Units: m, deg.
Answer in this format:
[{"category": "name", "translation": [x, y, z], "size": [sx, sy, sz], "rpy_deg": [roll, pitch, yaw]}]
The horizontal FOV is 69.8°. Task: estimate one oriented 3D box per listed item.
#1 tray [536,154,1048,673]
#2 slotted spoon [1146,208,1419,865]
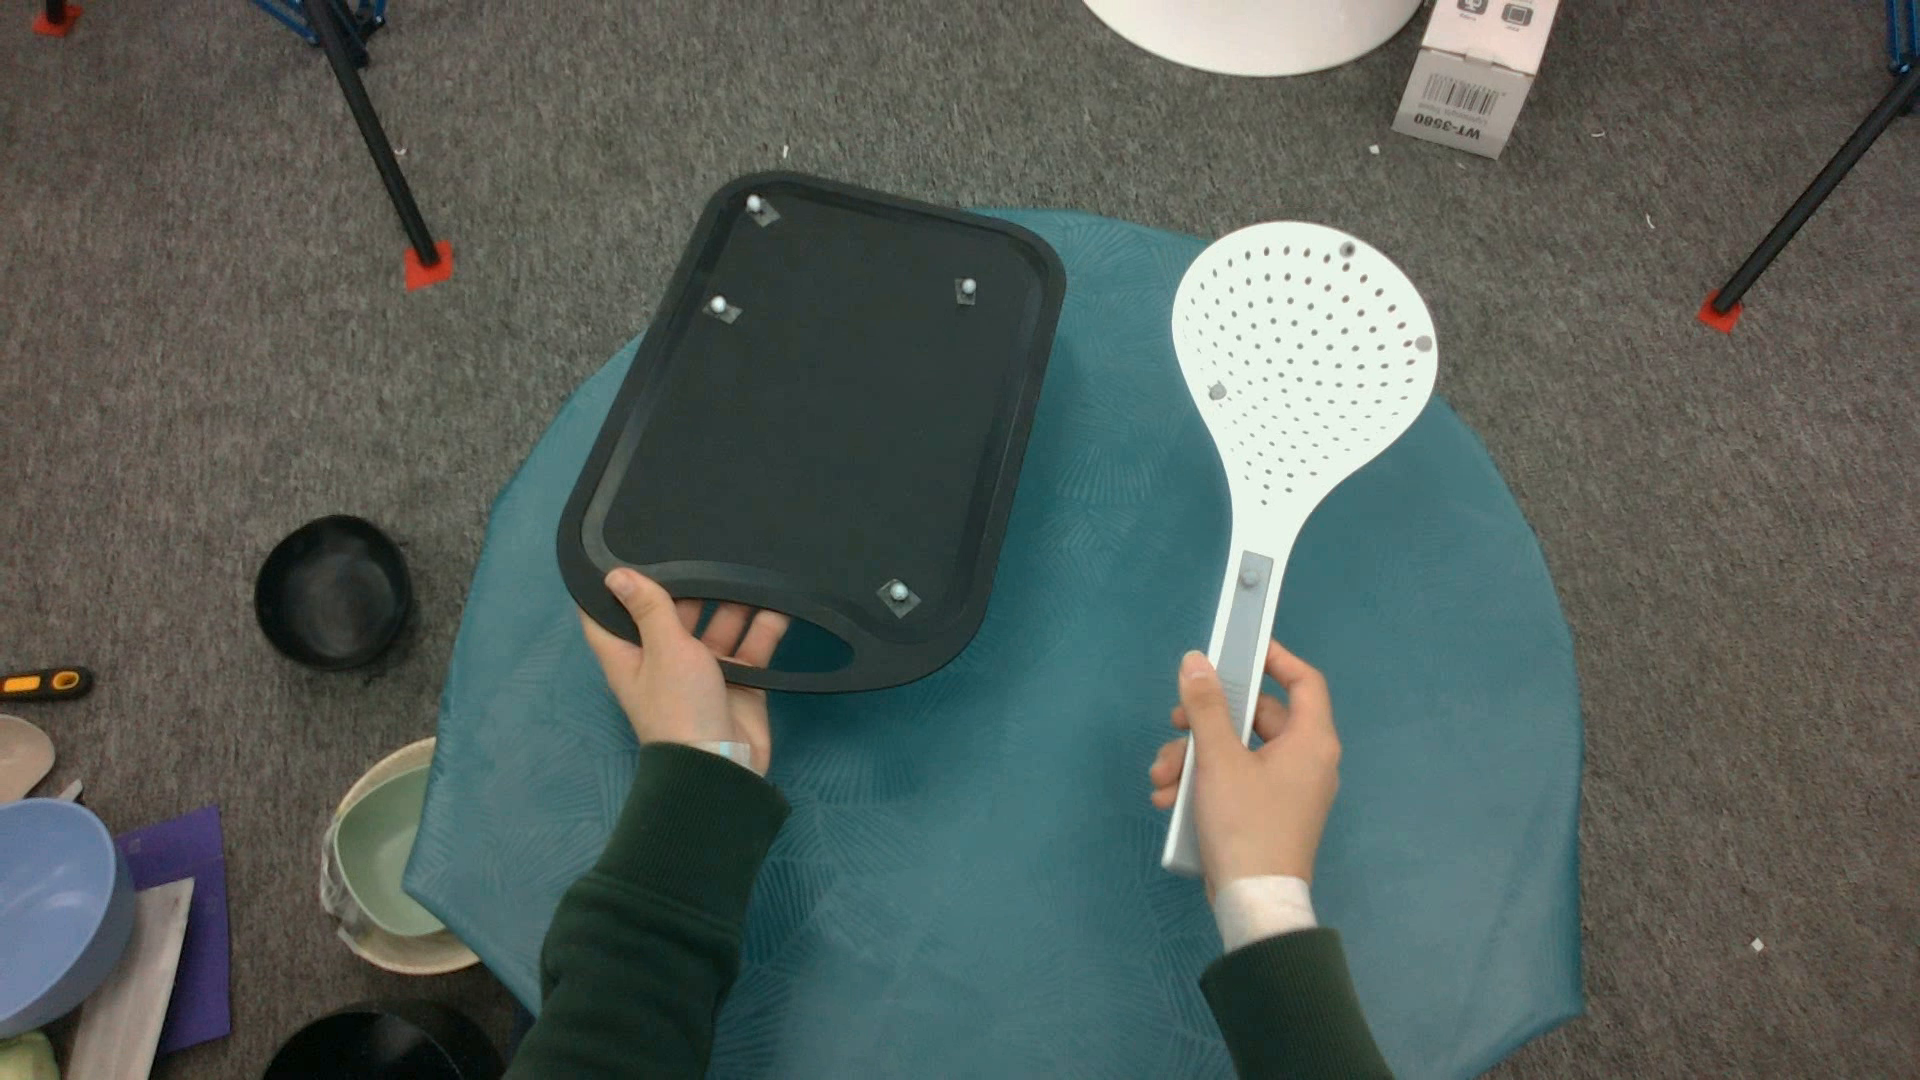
[{"category": "tray", "translation": [-0.077, -0.078, 0.708], "size": [0.211, 0.010, 0.327], "rpy_deg": [13, 57, 2]}, {"category": "slotted spoon", "translation": [0.139, -0.015, 0.664], "size": [0.136, 0.045, 0.351], "rpy_deg": [16, 61, 1]}]
